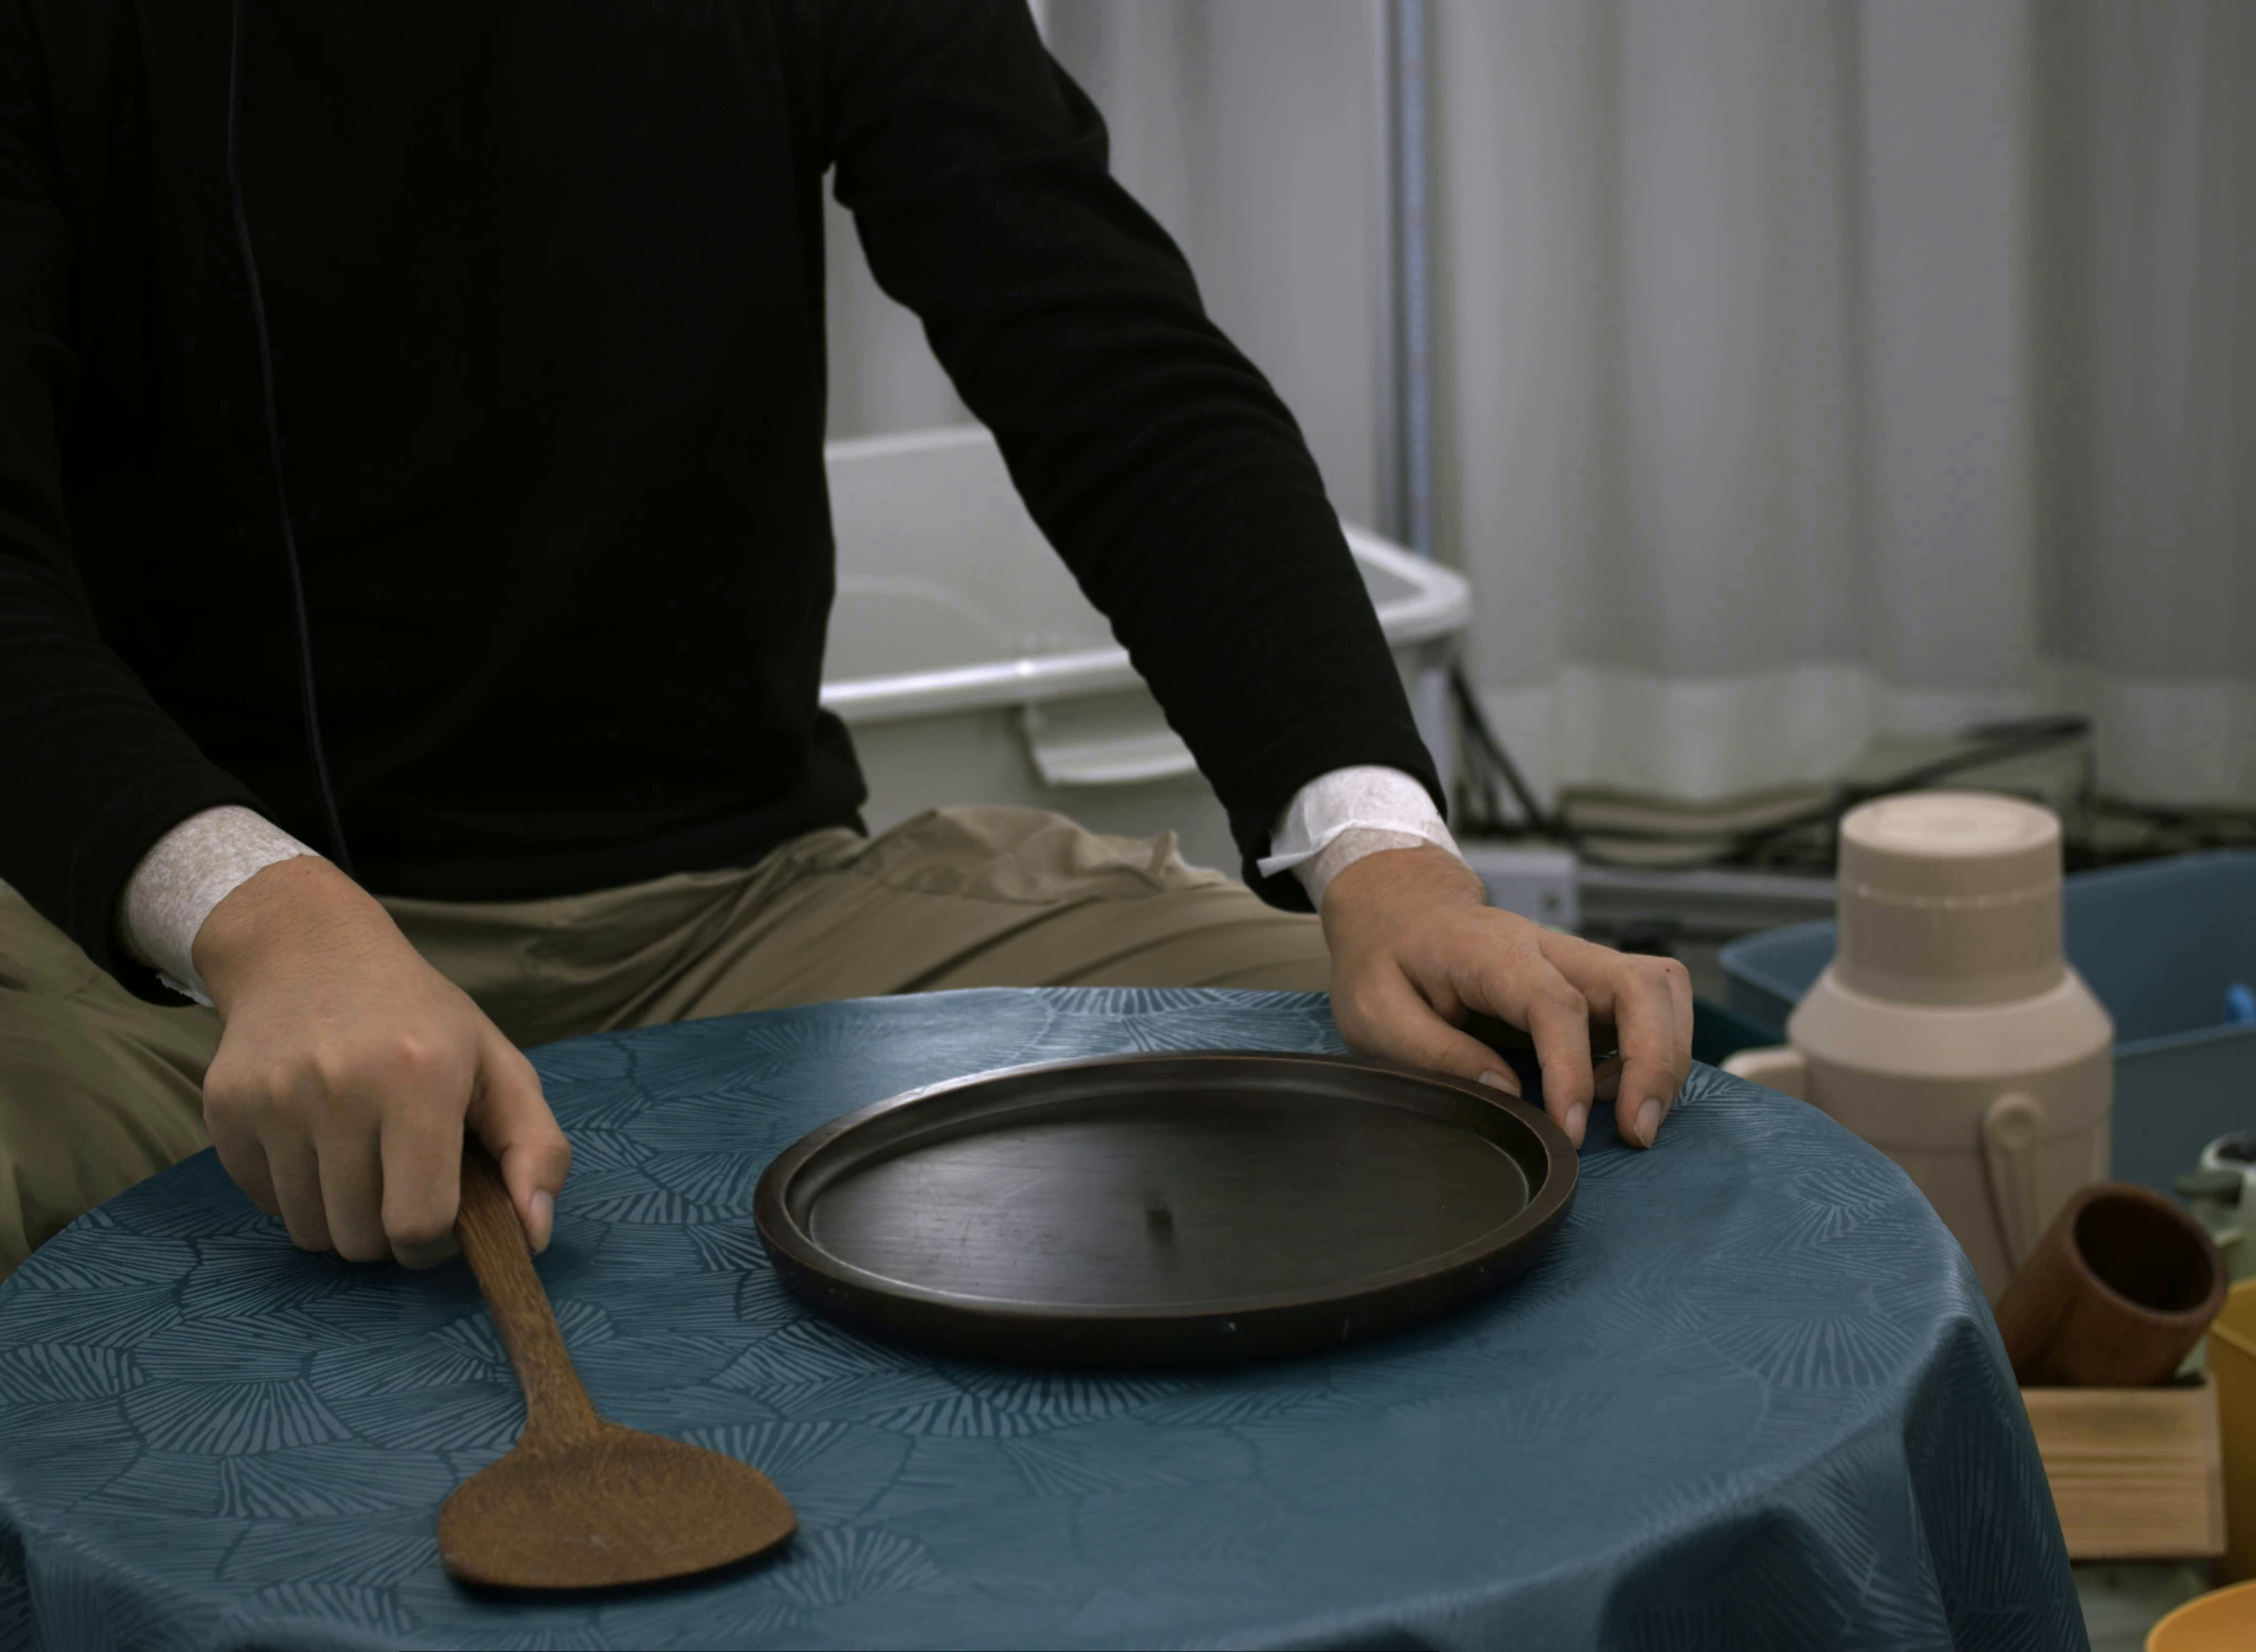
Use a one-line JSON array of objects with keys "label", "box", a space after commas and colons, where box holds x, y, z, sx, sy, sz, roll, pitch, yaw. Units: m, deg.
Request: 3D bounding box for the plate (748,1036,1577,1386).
[{"label": "plate", "box": [0.011, 0.116, 1.665, 0.254, 0.029, 0.256, -3, 16, 1]}]

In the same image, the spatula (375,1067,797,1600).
[{"label": "spatula", "box": [-0.179, 0.139, 1.591, 0.095, 0.015, 0.390, -6, 20, -14]}]
